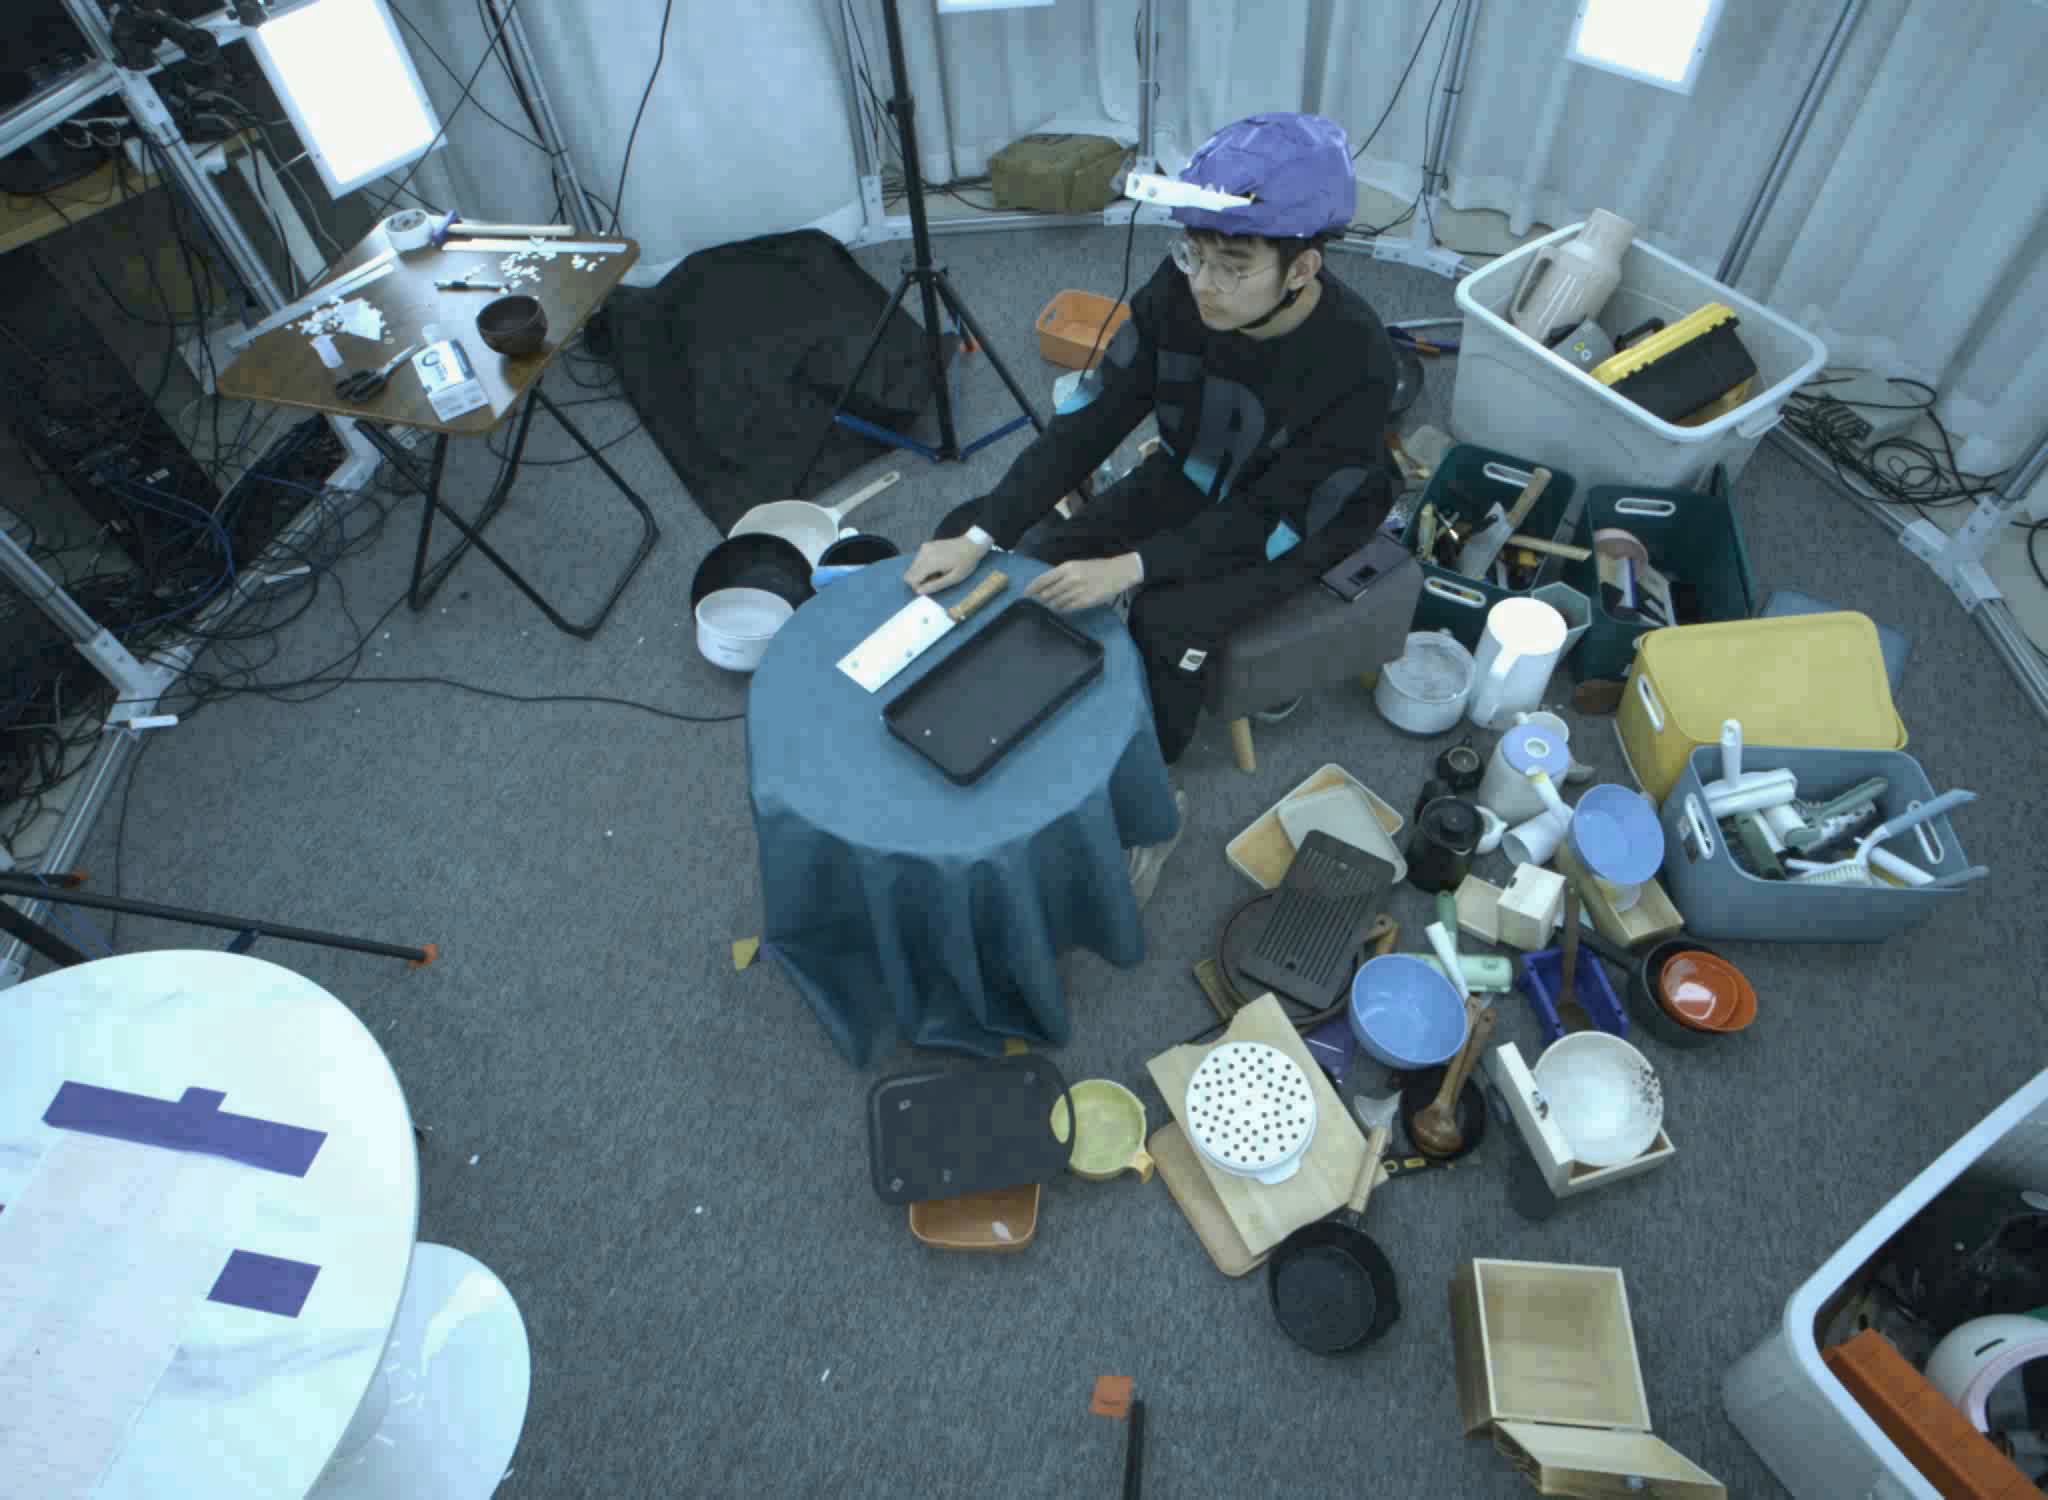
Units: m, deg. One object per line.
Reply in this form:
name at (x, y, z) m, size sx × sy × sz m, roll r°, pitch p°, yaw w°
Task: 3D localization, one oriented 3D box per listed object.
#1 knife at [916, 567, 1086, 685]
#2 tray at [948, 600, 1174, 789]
knife at (-0.040, -0.209, 1.927) m, size 0.308 × 0.021 × 0.091 m, roll -38°, pitch 60°, yaw -20°
tray at (0.057, -0.088, 1.825) m, size 0.320 × 0.037 × 0.181 m, roll -39°, pitch 62°, yaw -23°
